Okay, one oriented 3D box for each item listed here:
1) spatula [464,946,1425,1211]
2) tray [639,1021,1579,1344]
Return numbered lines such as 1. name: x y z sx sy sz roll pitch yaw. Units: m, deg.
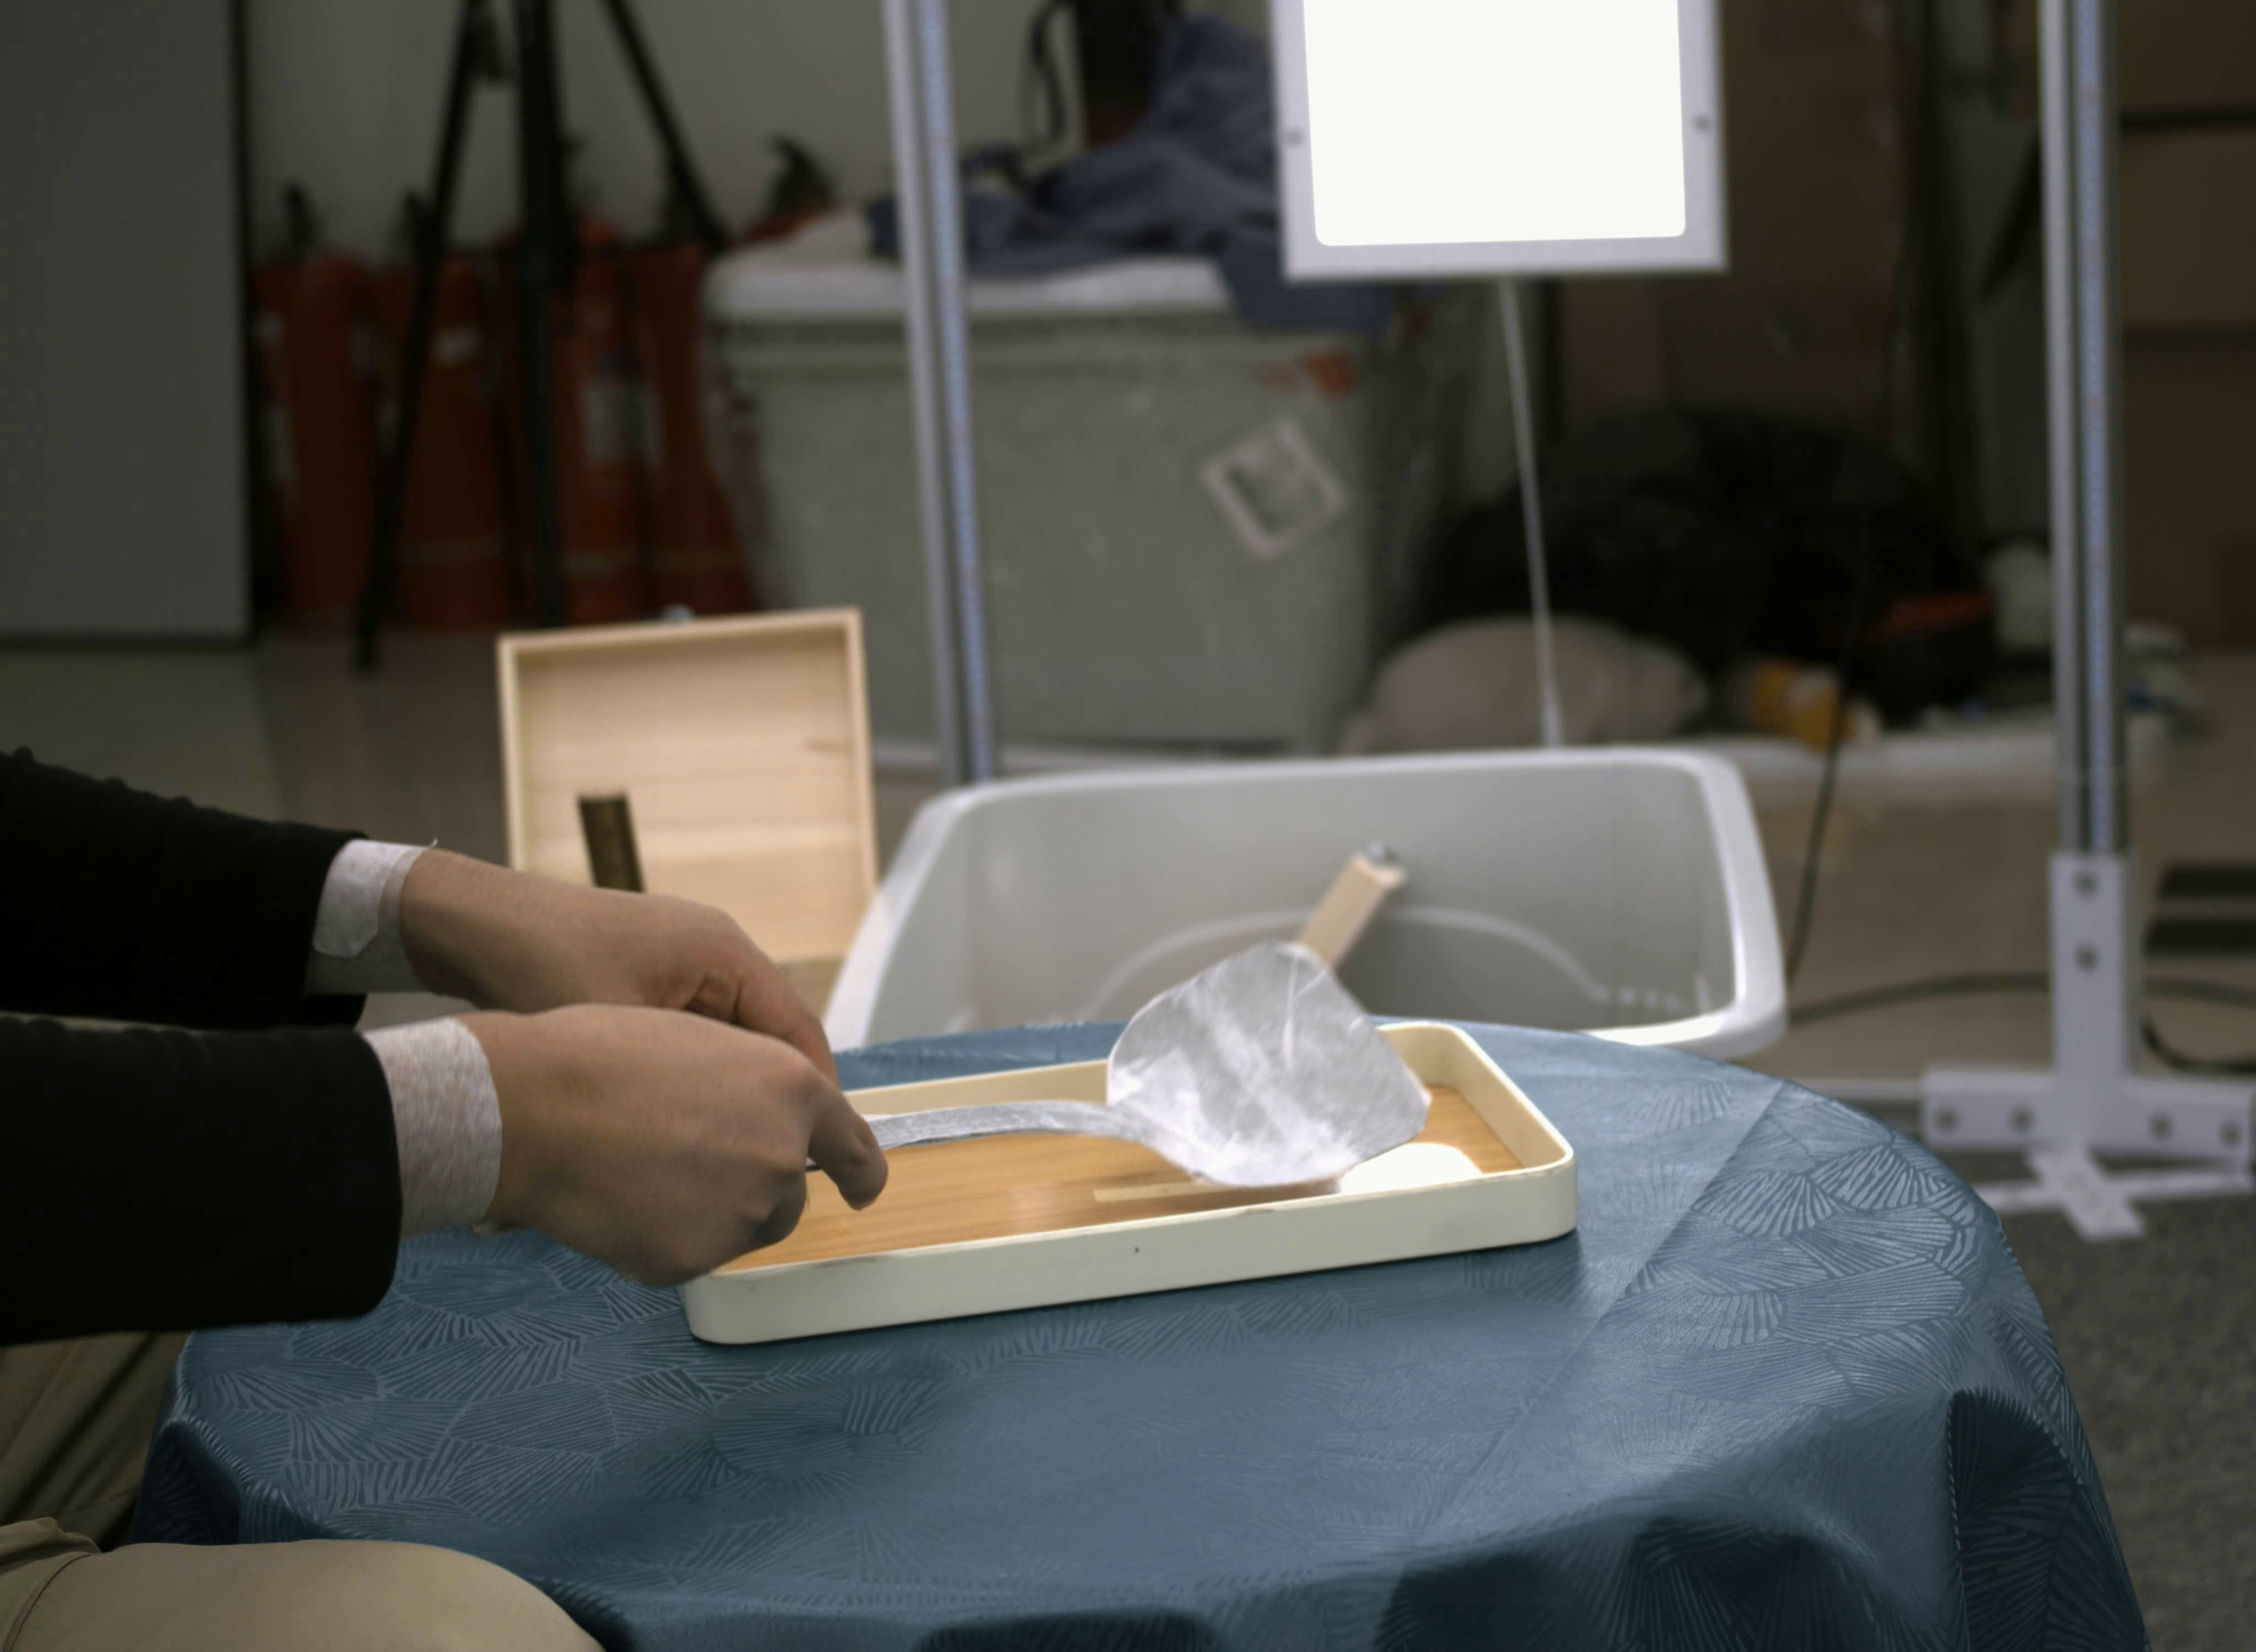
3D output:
1. spatula: -0.055 0.093 1.786 0.355 0.045 0.100 -3 43 -41
2. tray: -0.011 0.119 1.876 0.298 0.027 0.192 -7 14 -7
